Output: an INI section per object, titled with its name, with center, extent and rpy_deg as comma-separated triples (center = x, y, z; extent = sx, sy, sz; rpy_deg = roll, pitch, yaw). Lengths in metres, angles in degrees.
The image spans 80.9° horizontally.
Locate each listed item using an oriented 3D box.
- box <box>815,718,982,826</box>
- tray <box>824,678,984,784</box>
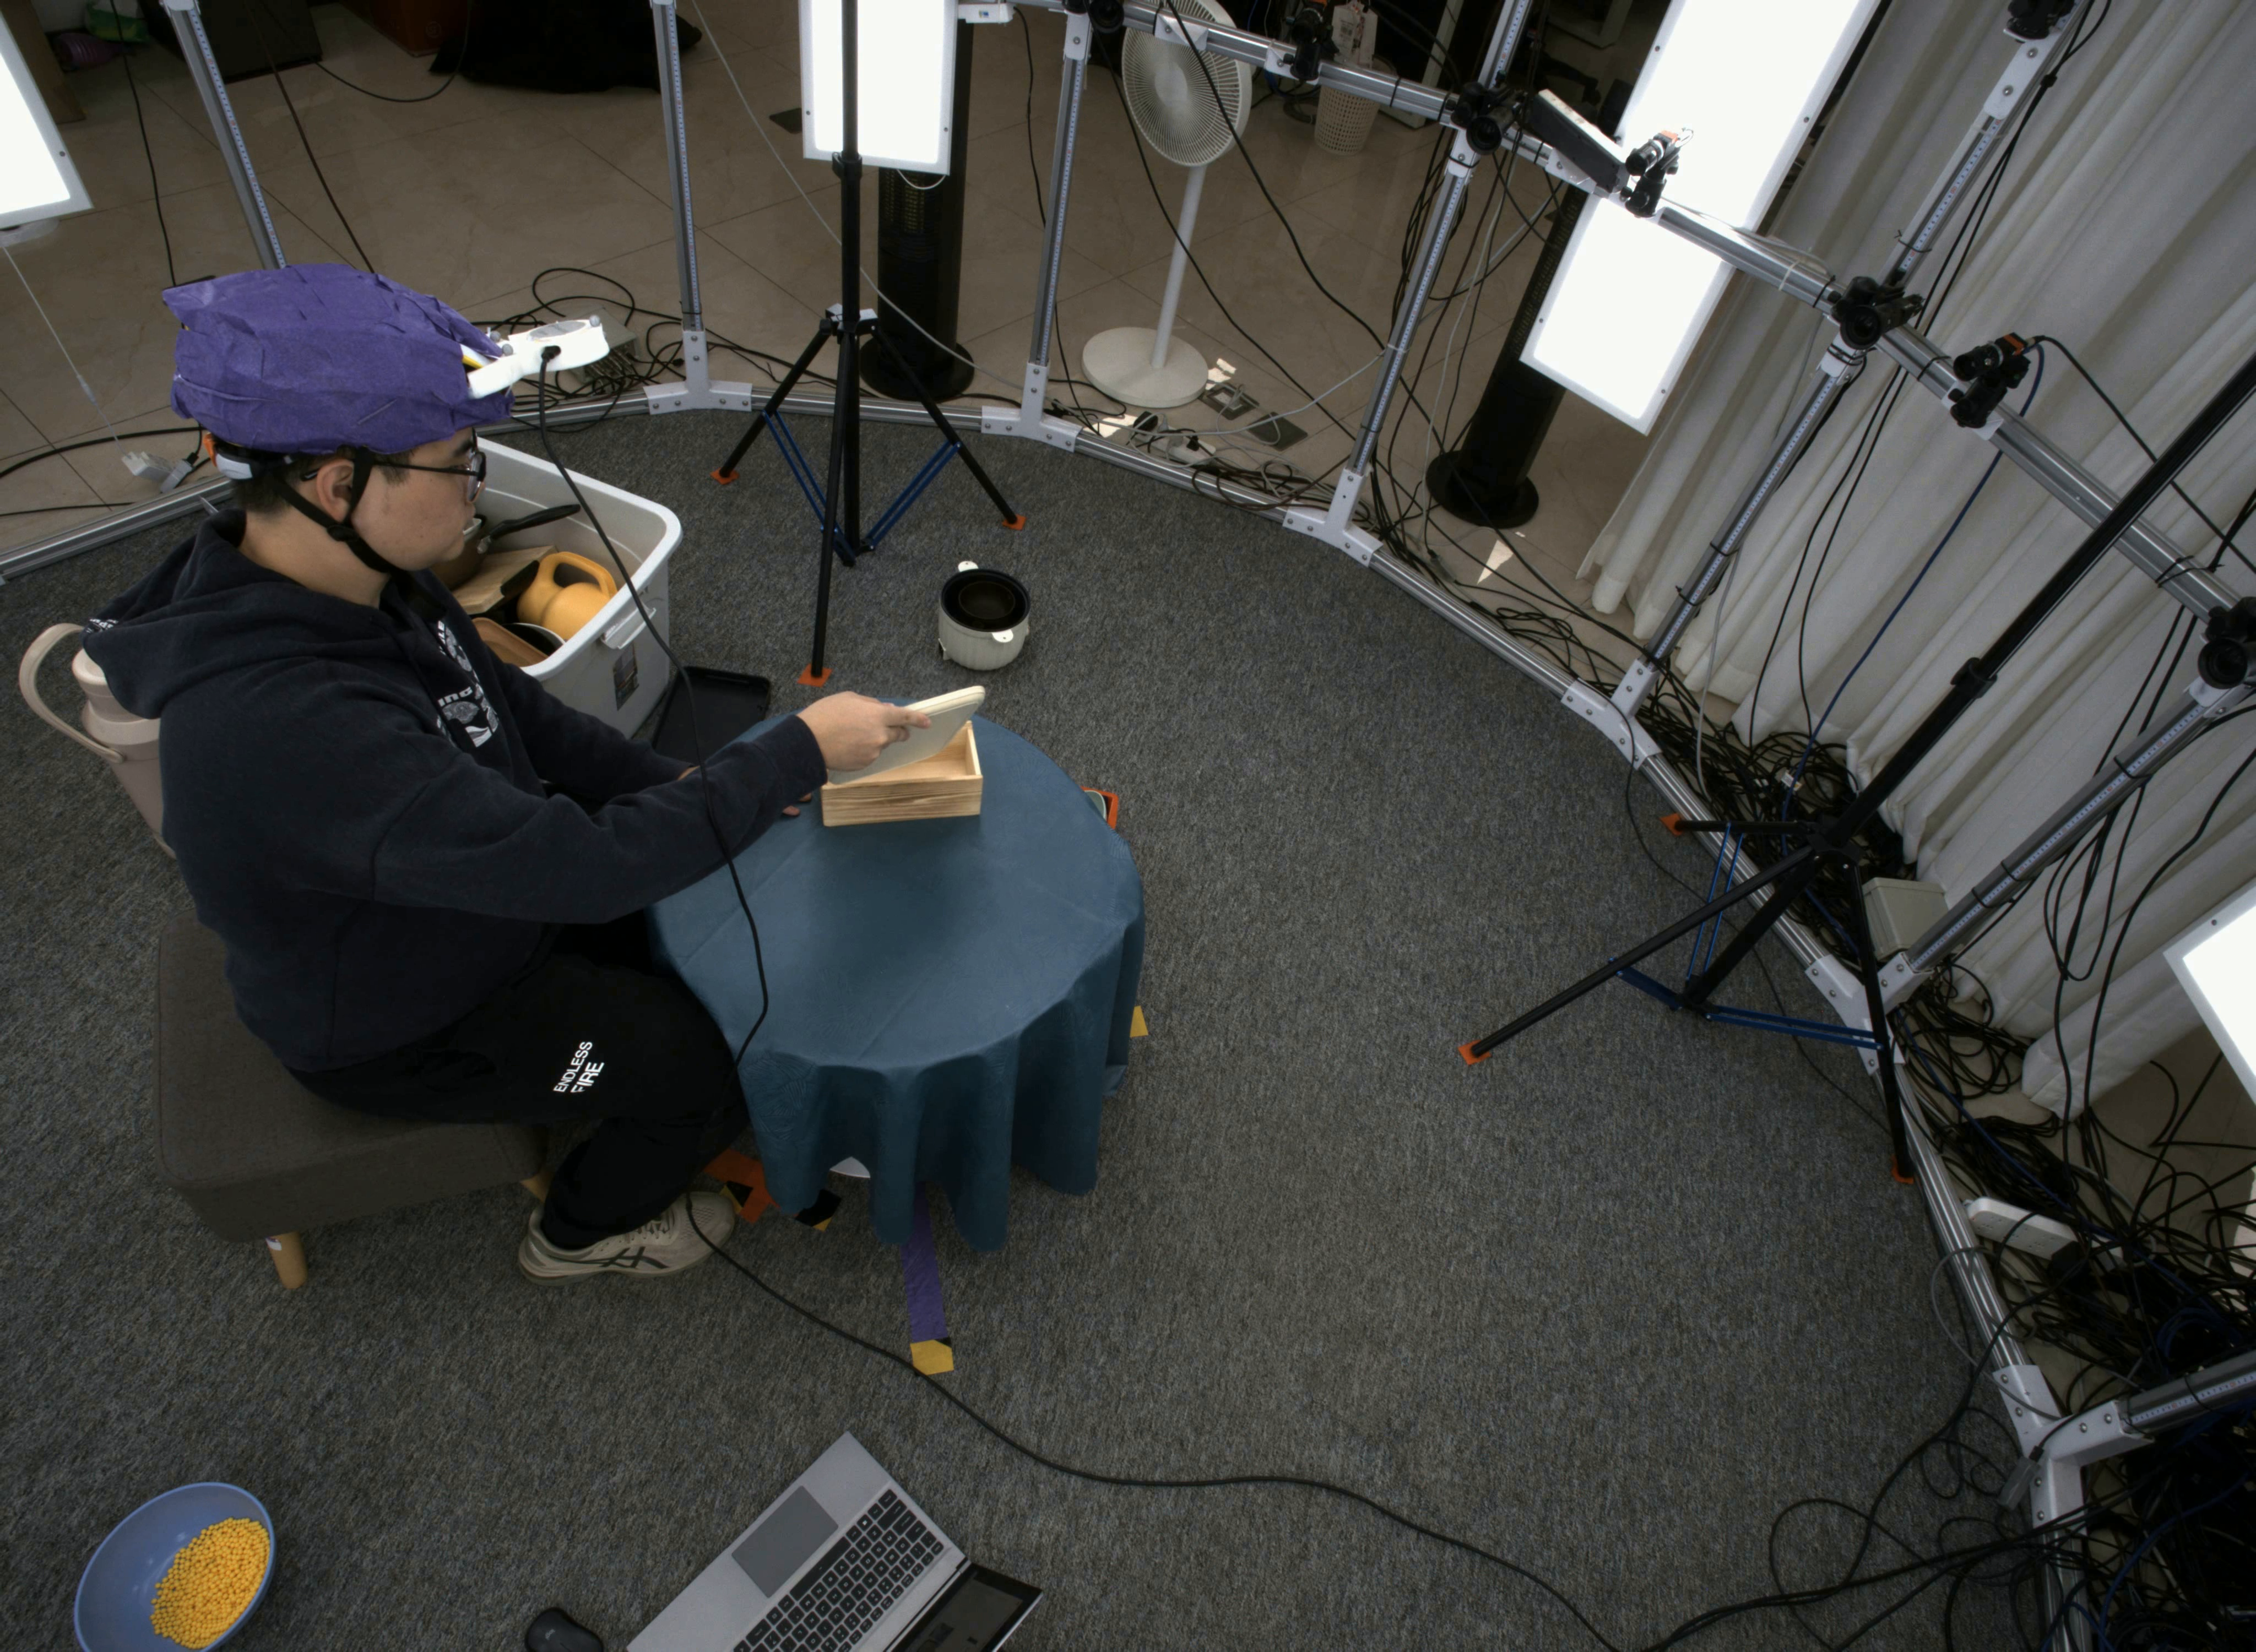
[box]
center = -0.310, -0.074, 1.753
extent = 0.212, 0.082, 0.105
rpy_deg = -5, 54, -17
[tray]
center = -0.273, -0.111, 1.580
extent = 0.172, 0.238, 0.017
rpy_deg = -21, 83, -27
